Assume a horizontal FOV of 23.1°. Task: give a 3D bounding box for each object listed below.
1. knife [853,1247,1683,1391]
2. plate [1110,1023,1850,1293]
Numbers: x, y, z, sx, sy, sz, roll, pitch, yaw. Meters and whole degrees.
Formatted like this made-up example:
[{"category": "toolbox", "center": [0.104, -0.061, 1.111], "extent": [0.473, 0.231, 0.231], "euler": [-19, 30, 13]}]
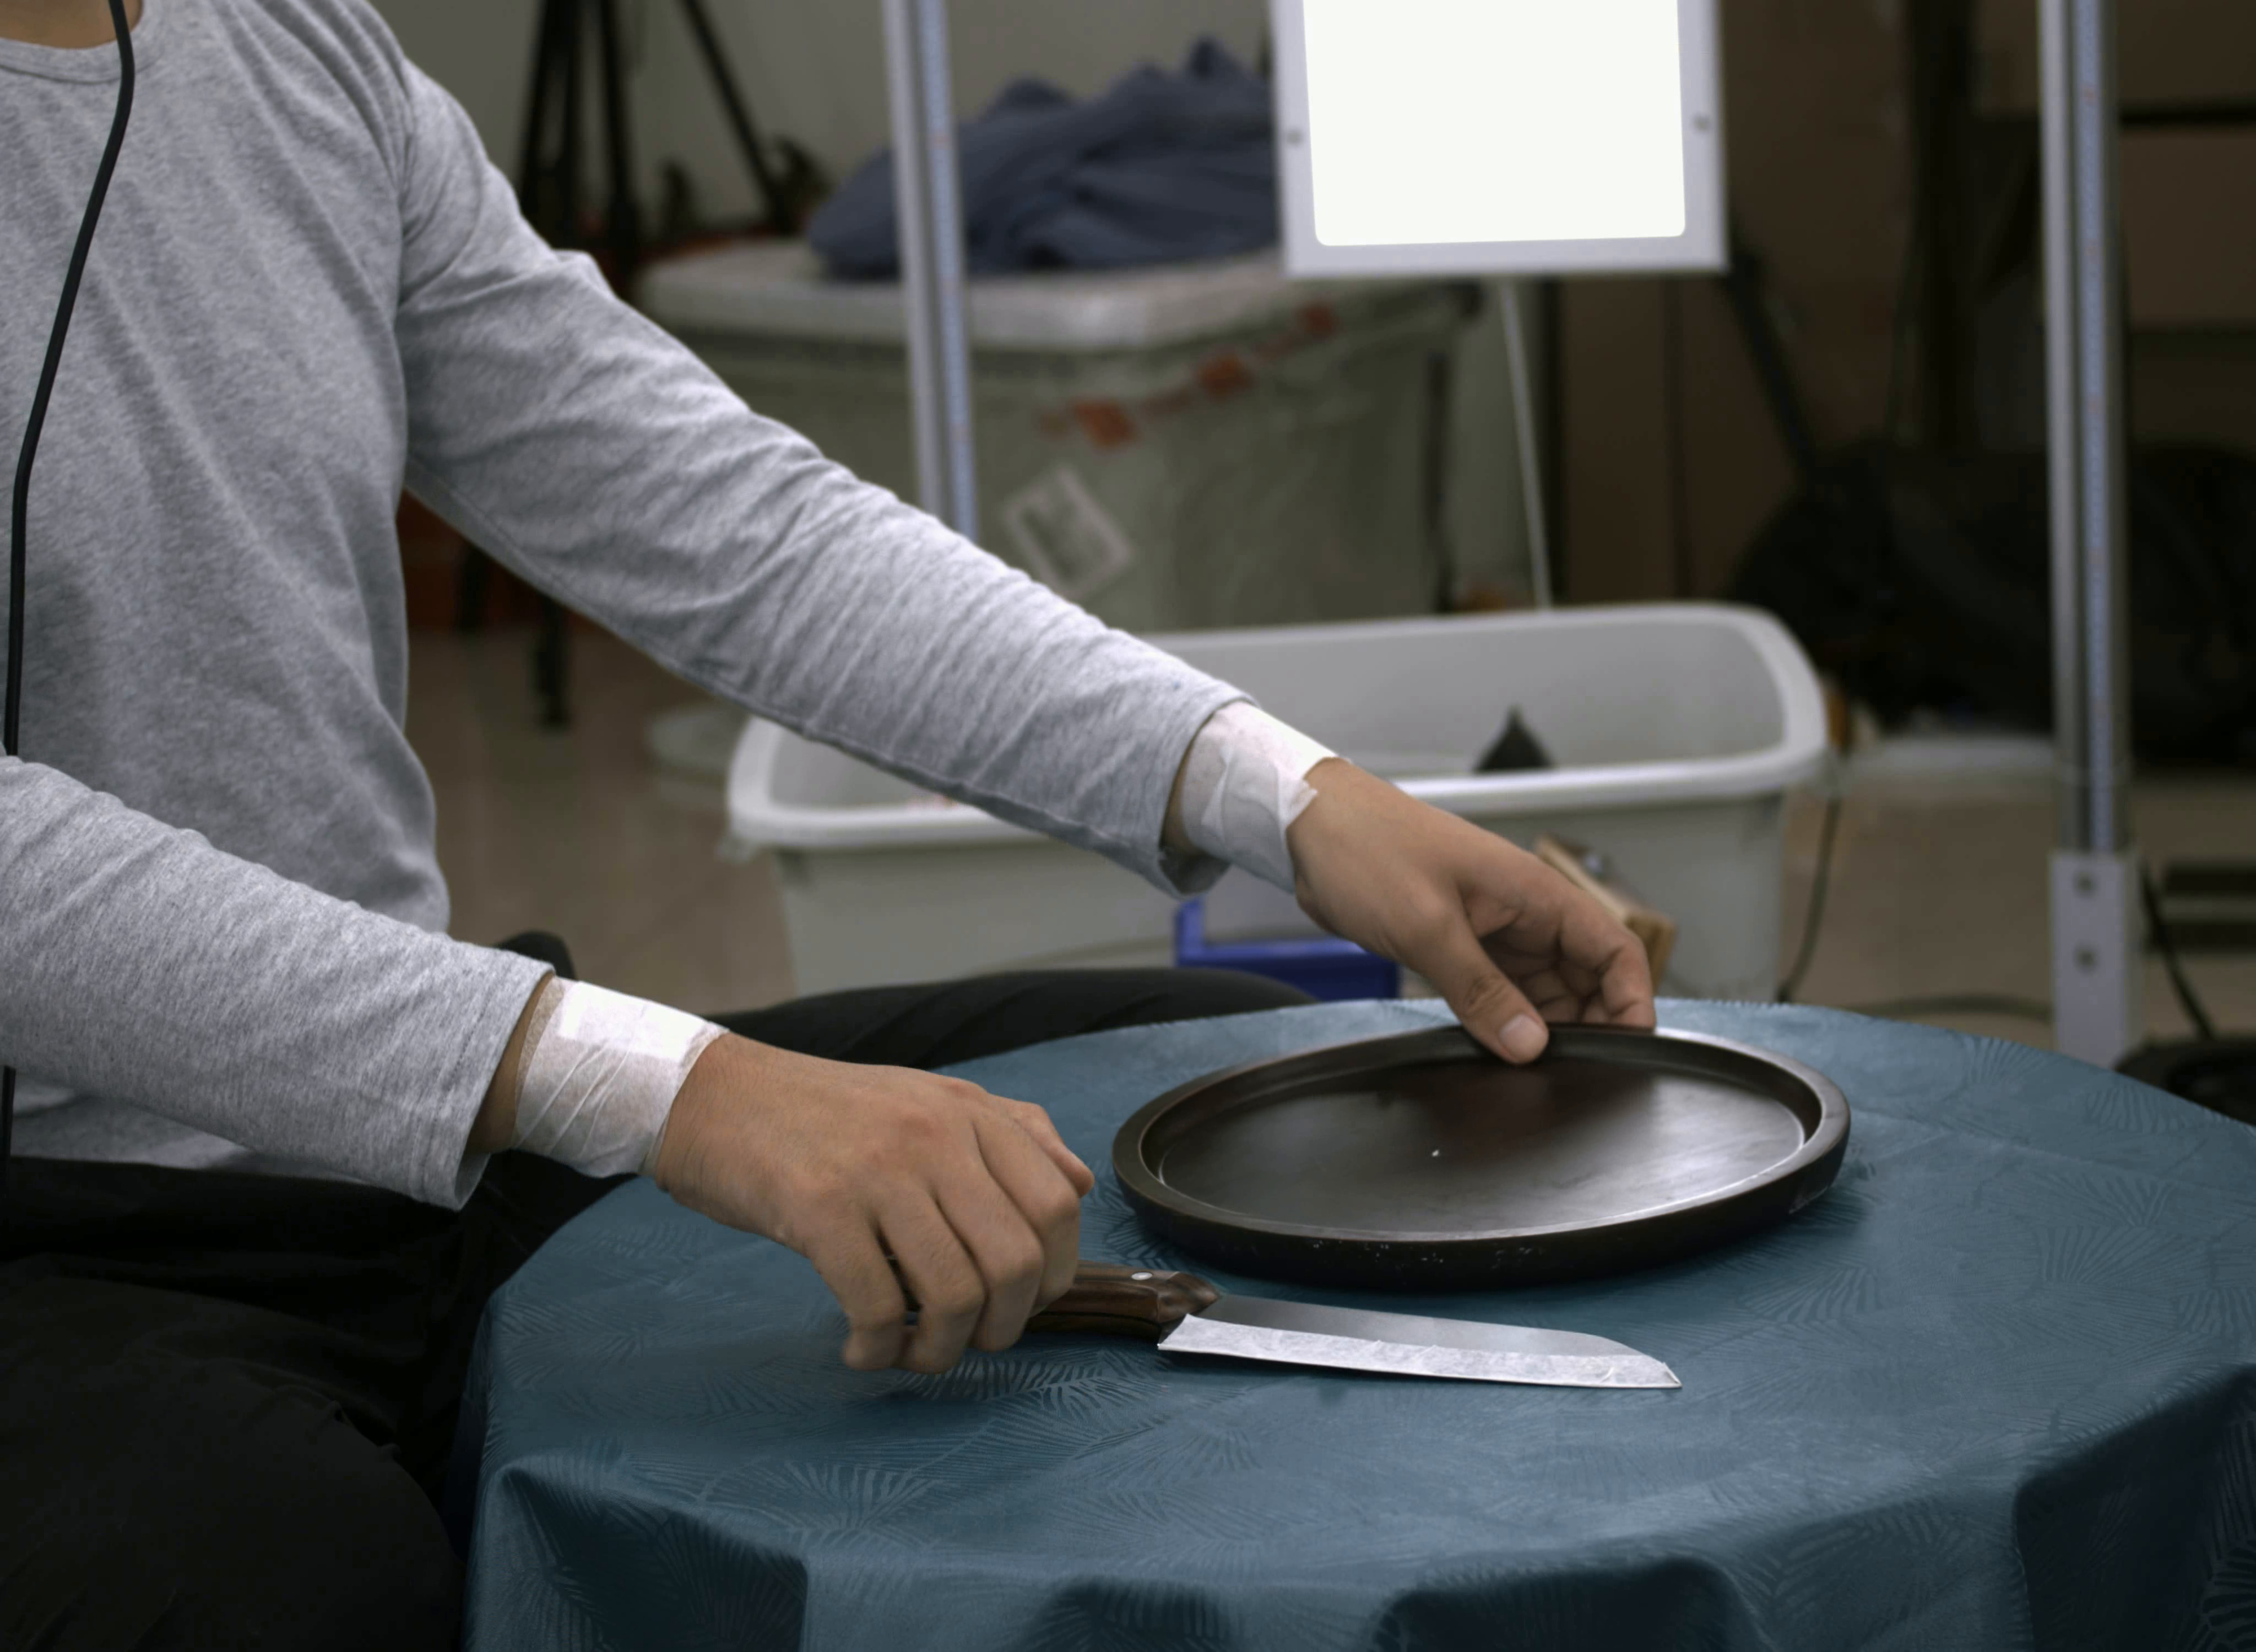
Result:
[{"category": "knife", "center": [0.039, 0.157, 1.732], "extent": [0.294, 0.020, 0.049], "euler": [5, 22, 27]}, {"category": "plate", "center": [0.120, 0.110, 1.873], "extent": [0.254, 0.029, 0.254], "euler": [-7, 14, 0]}]
